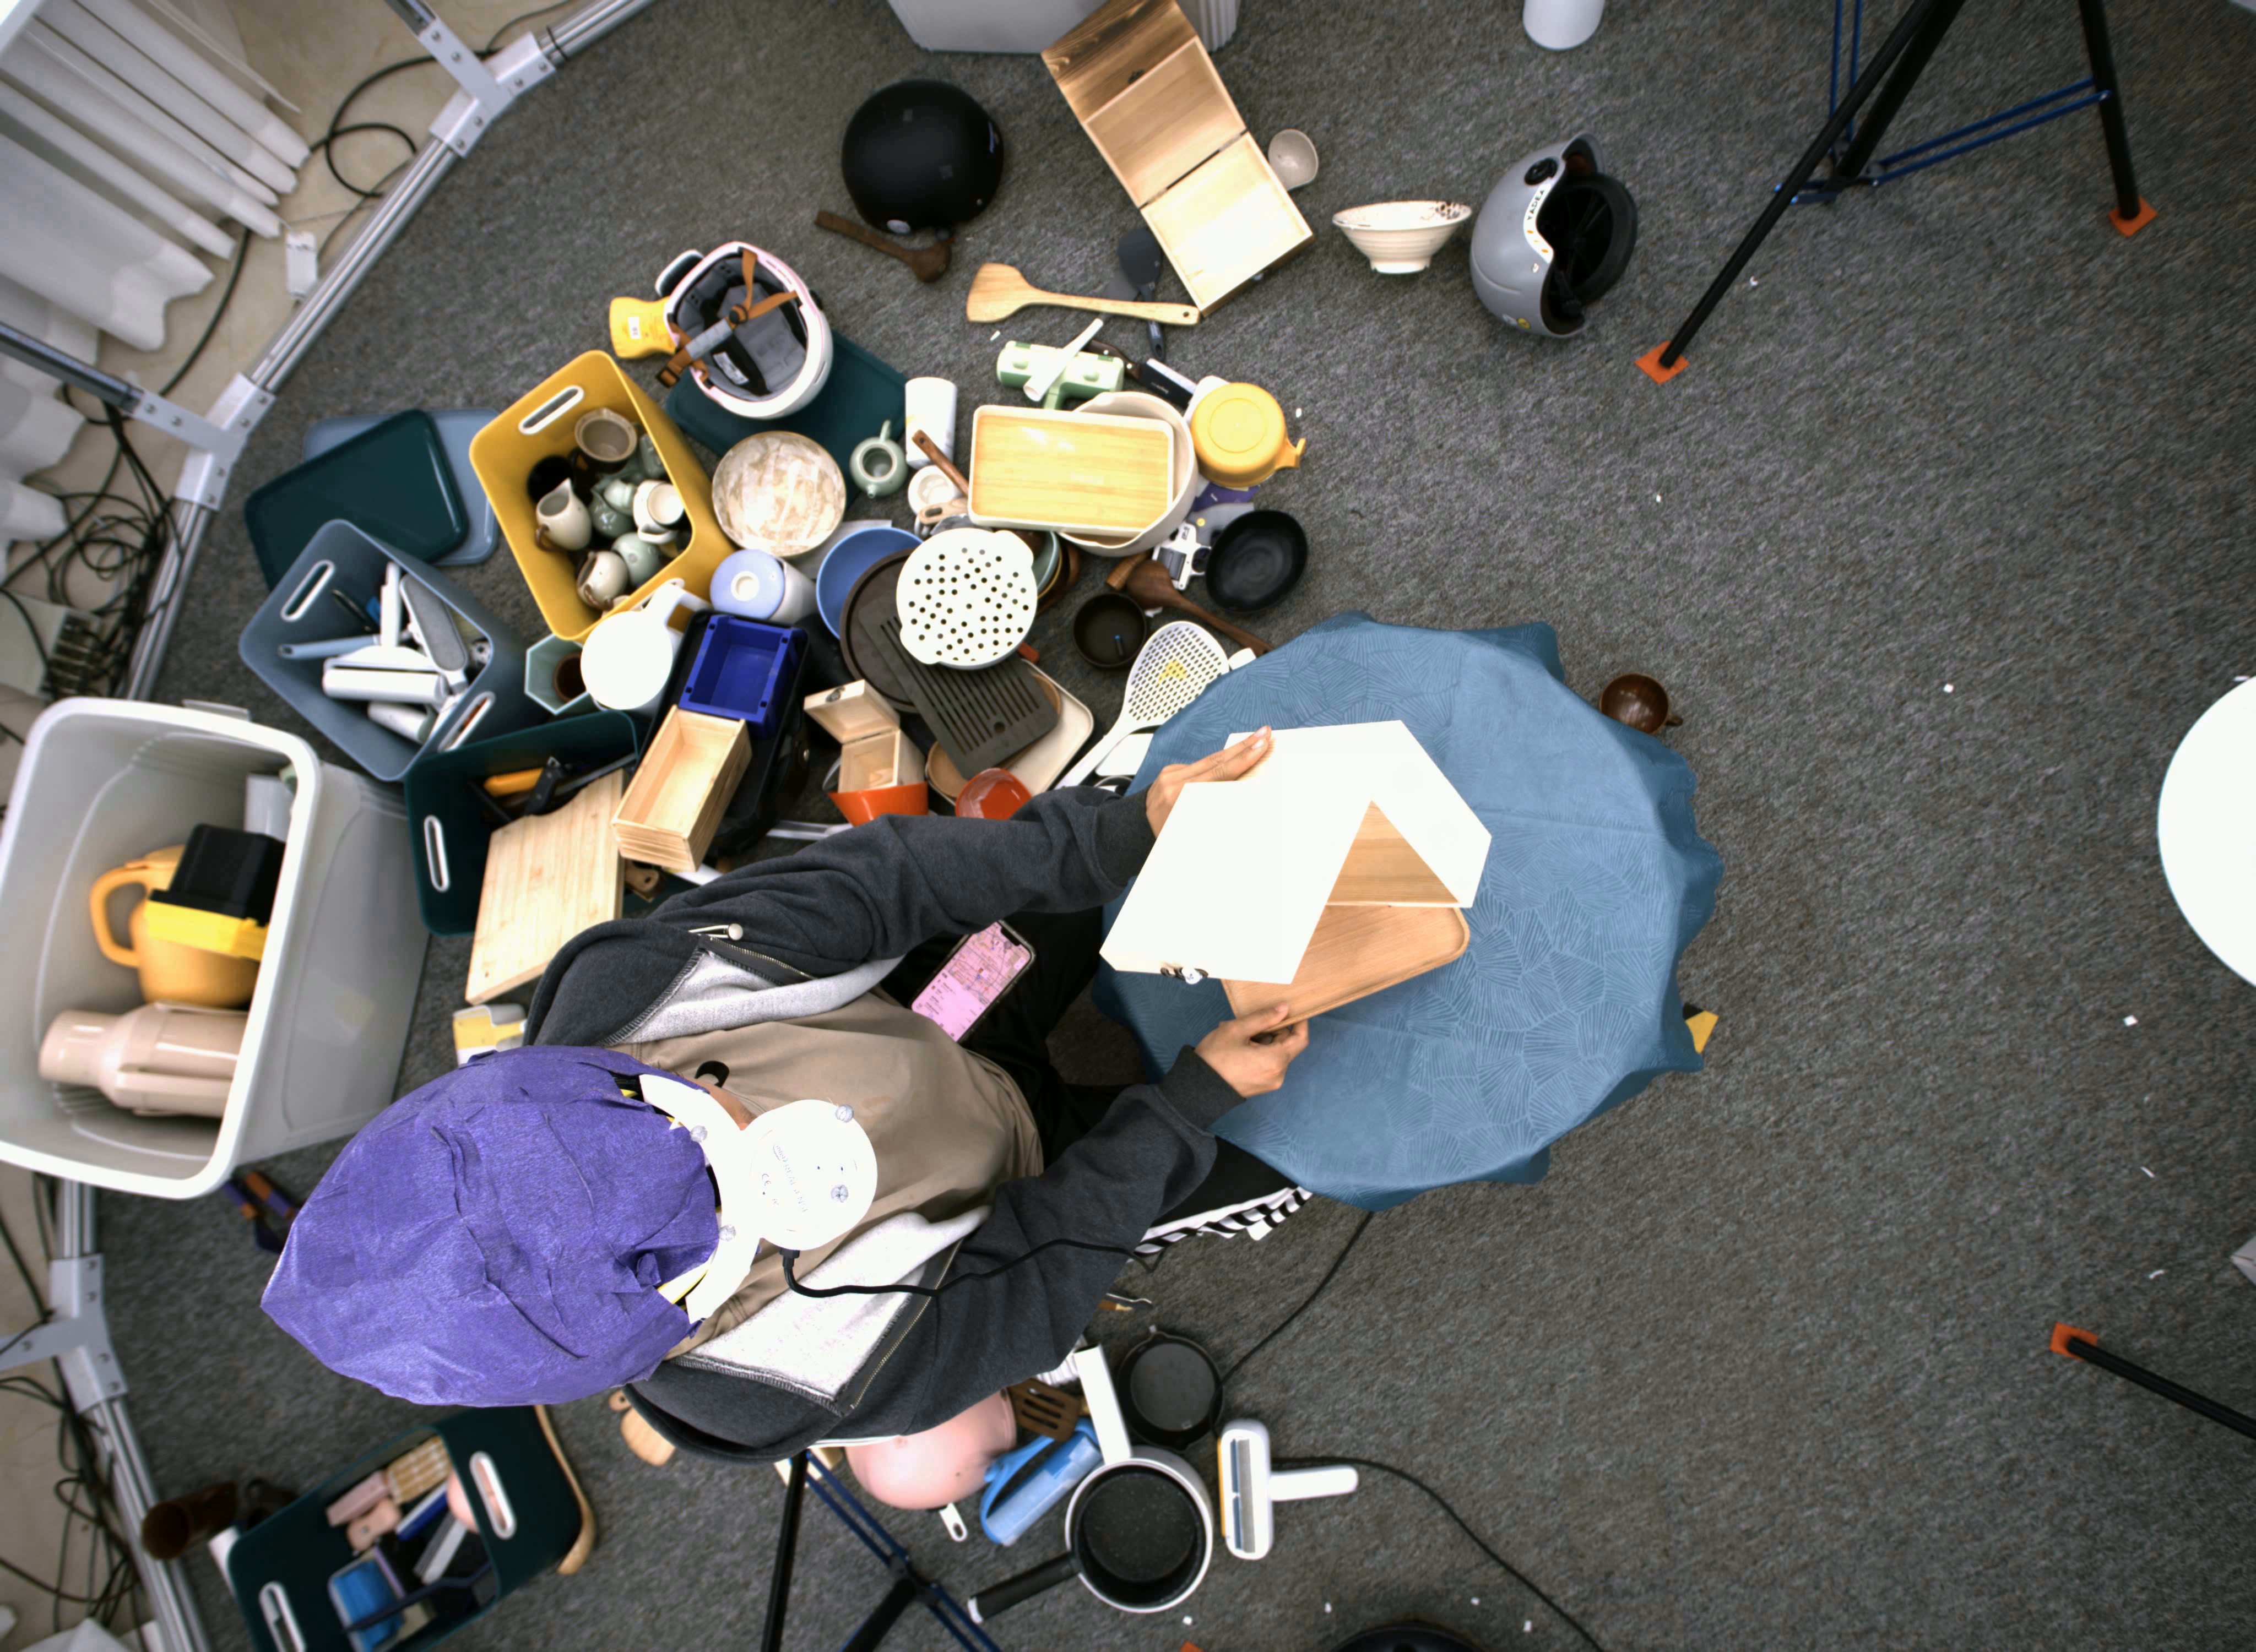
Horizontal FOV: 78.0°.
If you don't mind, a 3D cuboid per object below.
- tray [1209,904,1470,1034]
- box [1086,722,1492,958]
[{"bbox_3d":[0.213,0.118,1.403,0.251,0.023,0.128,-21,58,2],"label":"tray"},{"bbox_3d":[0.149,0.052,1.175,0.183,0.268,0.248,-4,55,43],"label":"box"}]
